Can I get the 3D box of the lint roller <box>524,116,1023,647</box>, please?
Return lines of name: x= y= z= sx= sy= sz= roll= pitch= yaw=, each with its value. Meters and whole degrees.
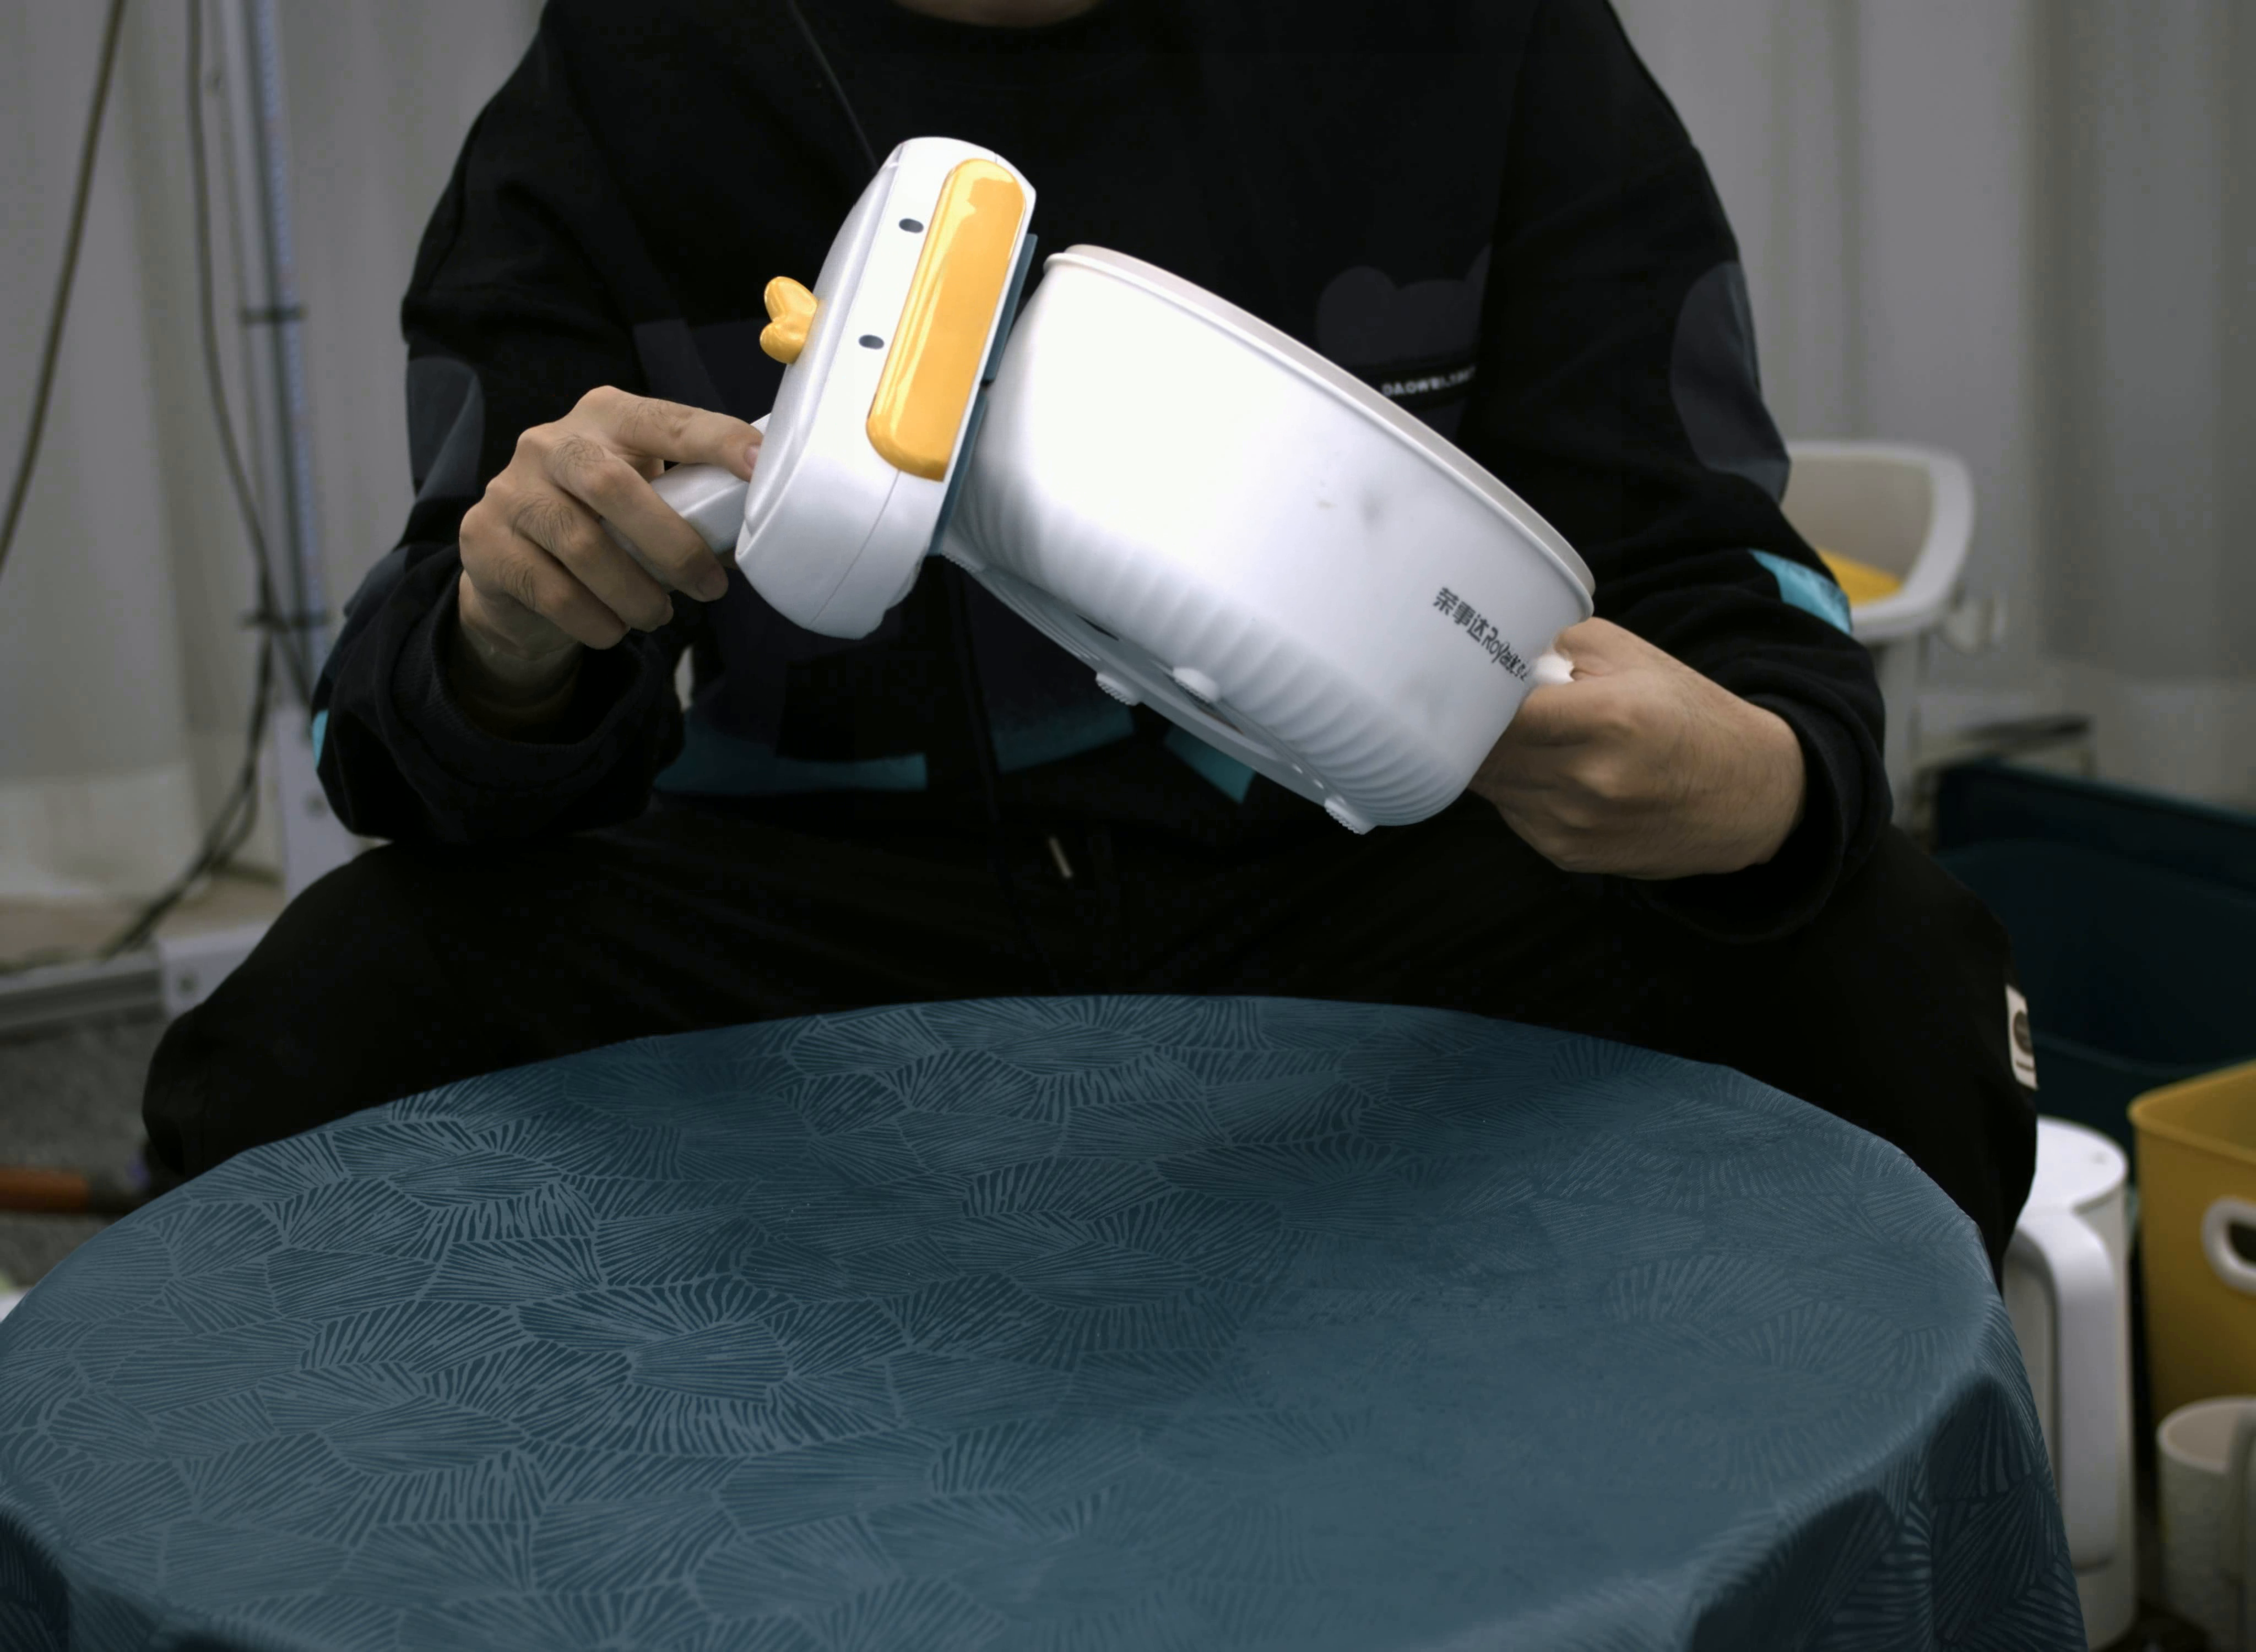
lint roller: x=-0.112 y=-0.113 z=1.690 sx=0.073 sy=0.191 sz=0.196 roll=31 pitch=38 yaw=-21

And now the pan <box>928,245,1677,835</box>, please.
pan: x=0.070 y=-0.053 z=1.746 sx=0.203 sy=0.102 sz=0.350 roll=29 pitch=-7 yaw=37
